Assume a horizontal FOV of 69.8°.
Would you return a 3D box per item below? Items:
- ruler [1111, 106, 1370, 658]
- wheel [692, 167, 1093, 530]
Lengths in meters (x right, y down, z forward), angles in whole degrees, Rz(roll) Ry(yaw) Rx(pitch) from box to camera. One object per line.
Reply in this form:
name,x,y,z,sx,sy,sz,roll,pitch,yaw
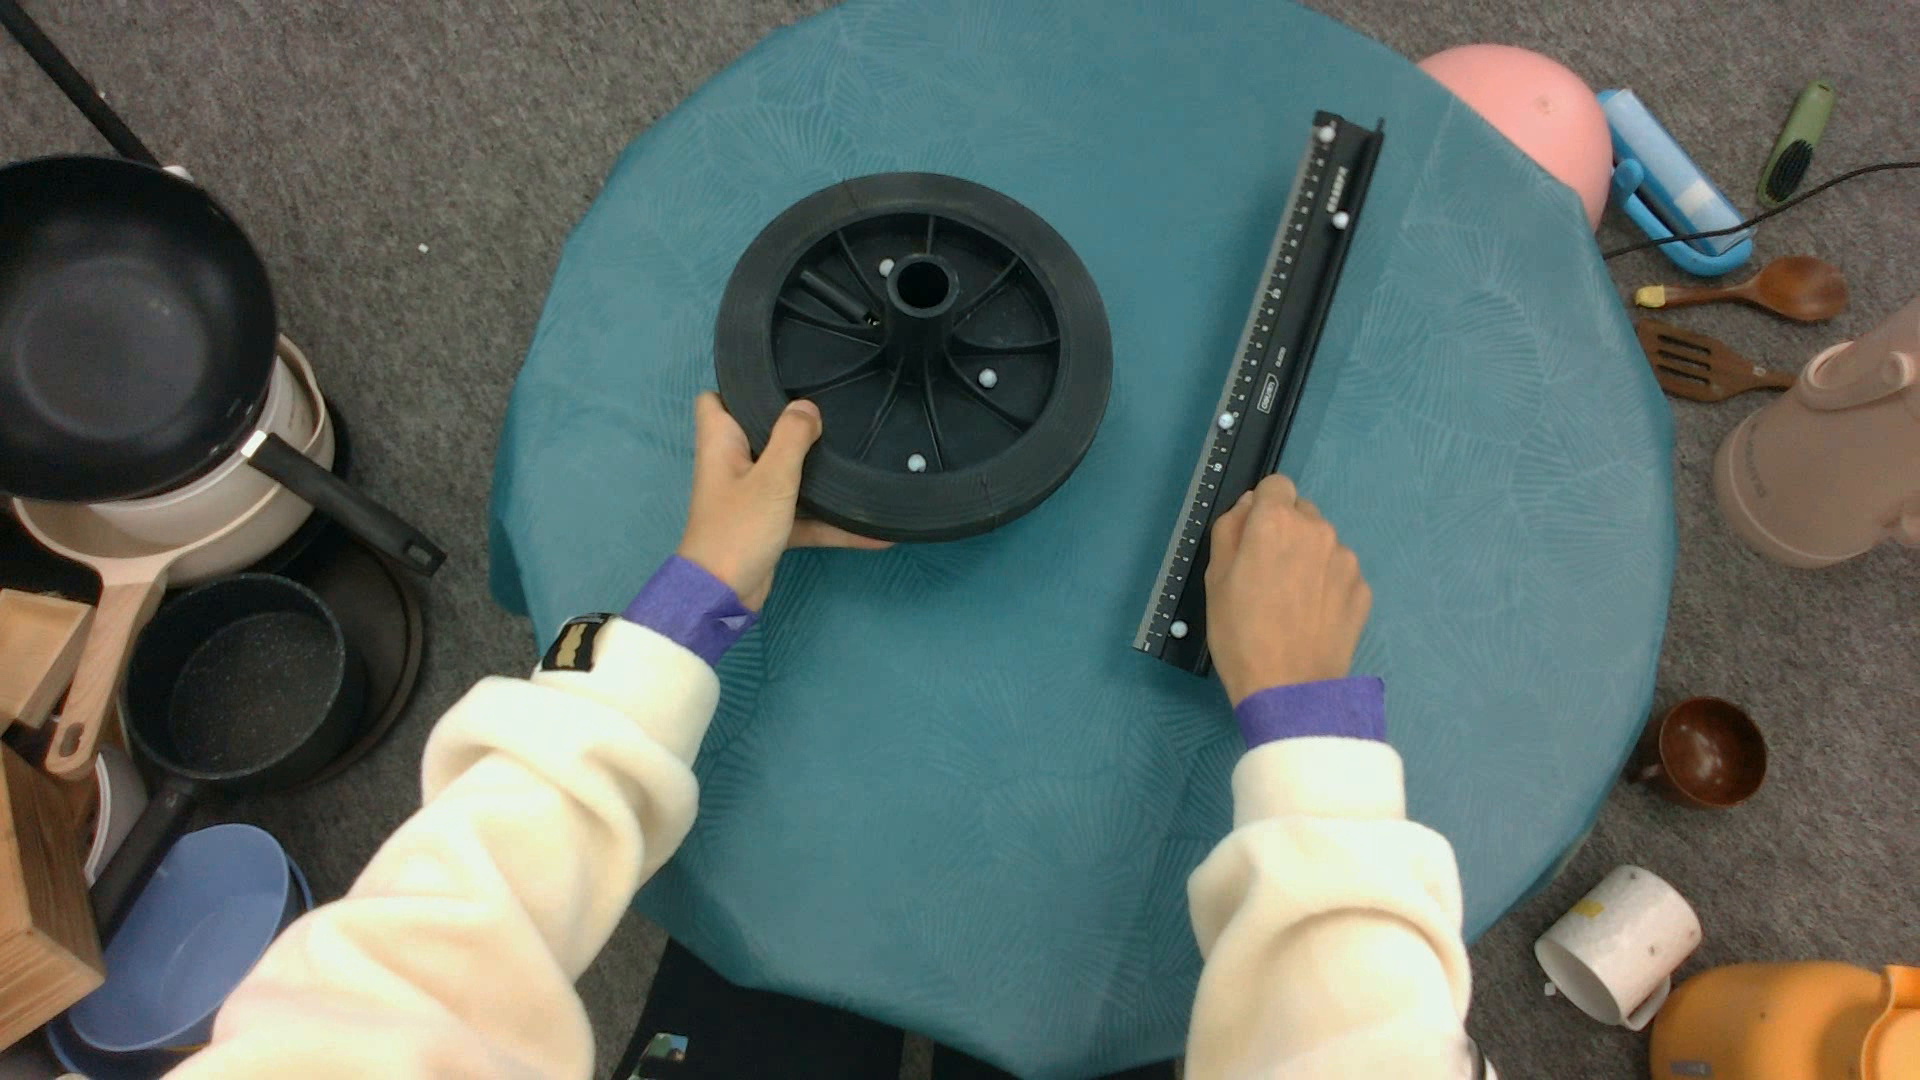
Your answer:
ruler,0.146,-0.091,0.686,0.039,0.017,0.313,23,73,0
wheel,-0.029,-0.102,0.635,0.190,0.079,0.188,14,69,-1
